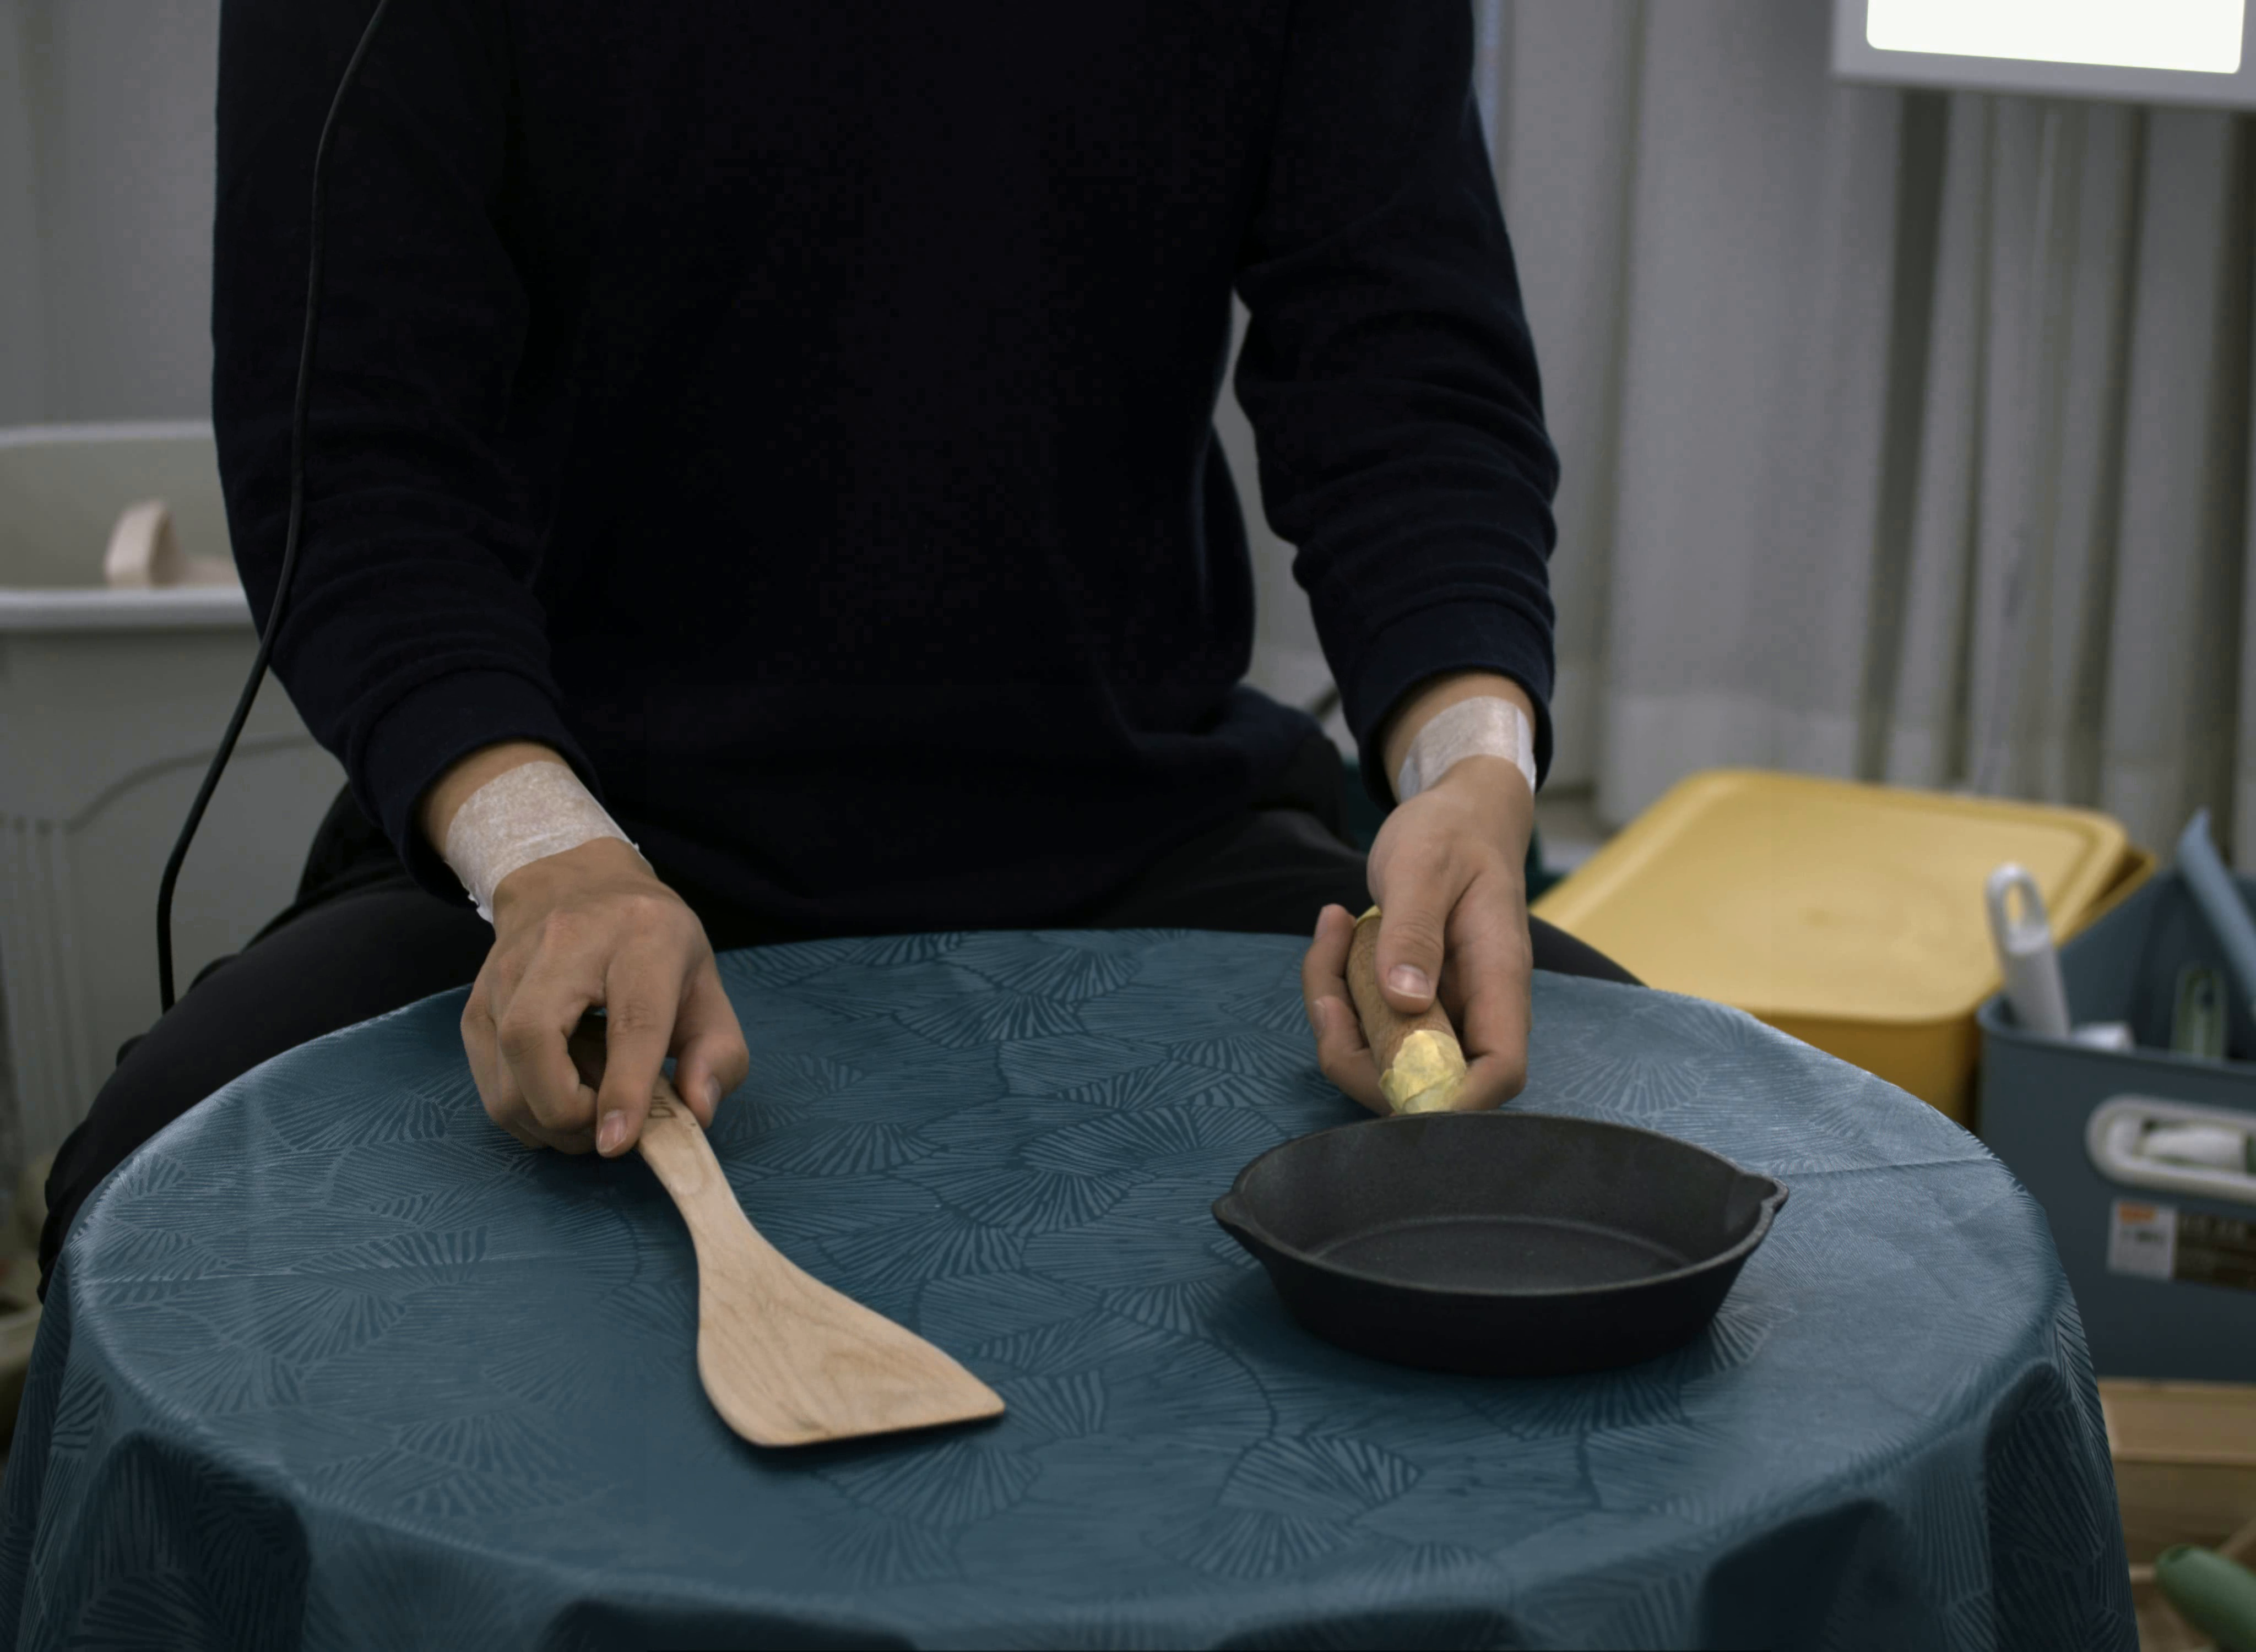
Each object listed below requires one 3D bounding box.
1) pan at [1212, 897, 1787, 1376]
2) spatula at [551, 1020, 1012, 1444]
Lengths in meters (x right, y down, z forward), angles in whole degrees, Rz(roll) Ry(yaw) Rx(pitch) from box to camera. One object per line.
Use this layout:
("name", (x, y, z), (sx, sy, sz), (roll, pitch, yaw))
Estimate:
("pan", (0.100, 0.091, 1.607), (0.168, 0.050, 0.322), (-1, 17, -5))
("spatula", (-0.118, 0.115, 1.552), (0.080, 0.016, 0.323), (0, 20, -22))
